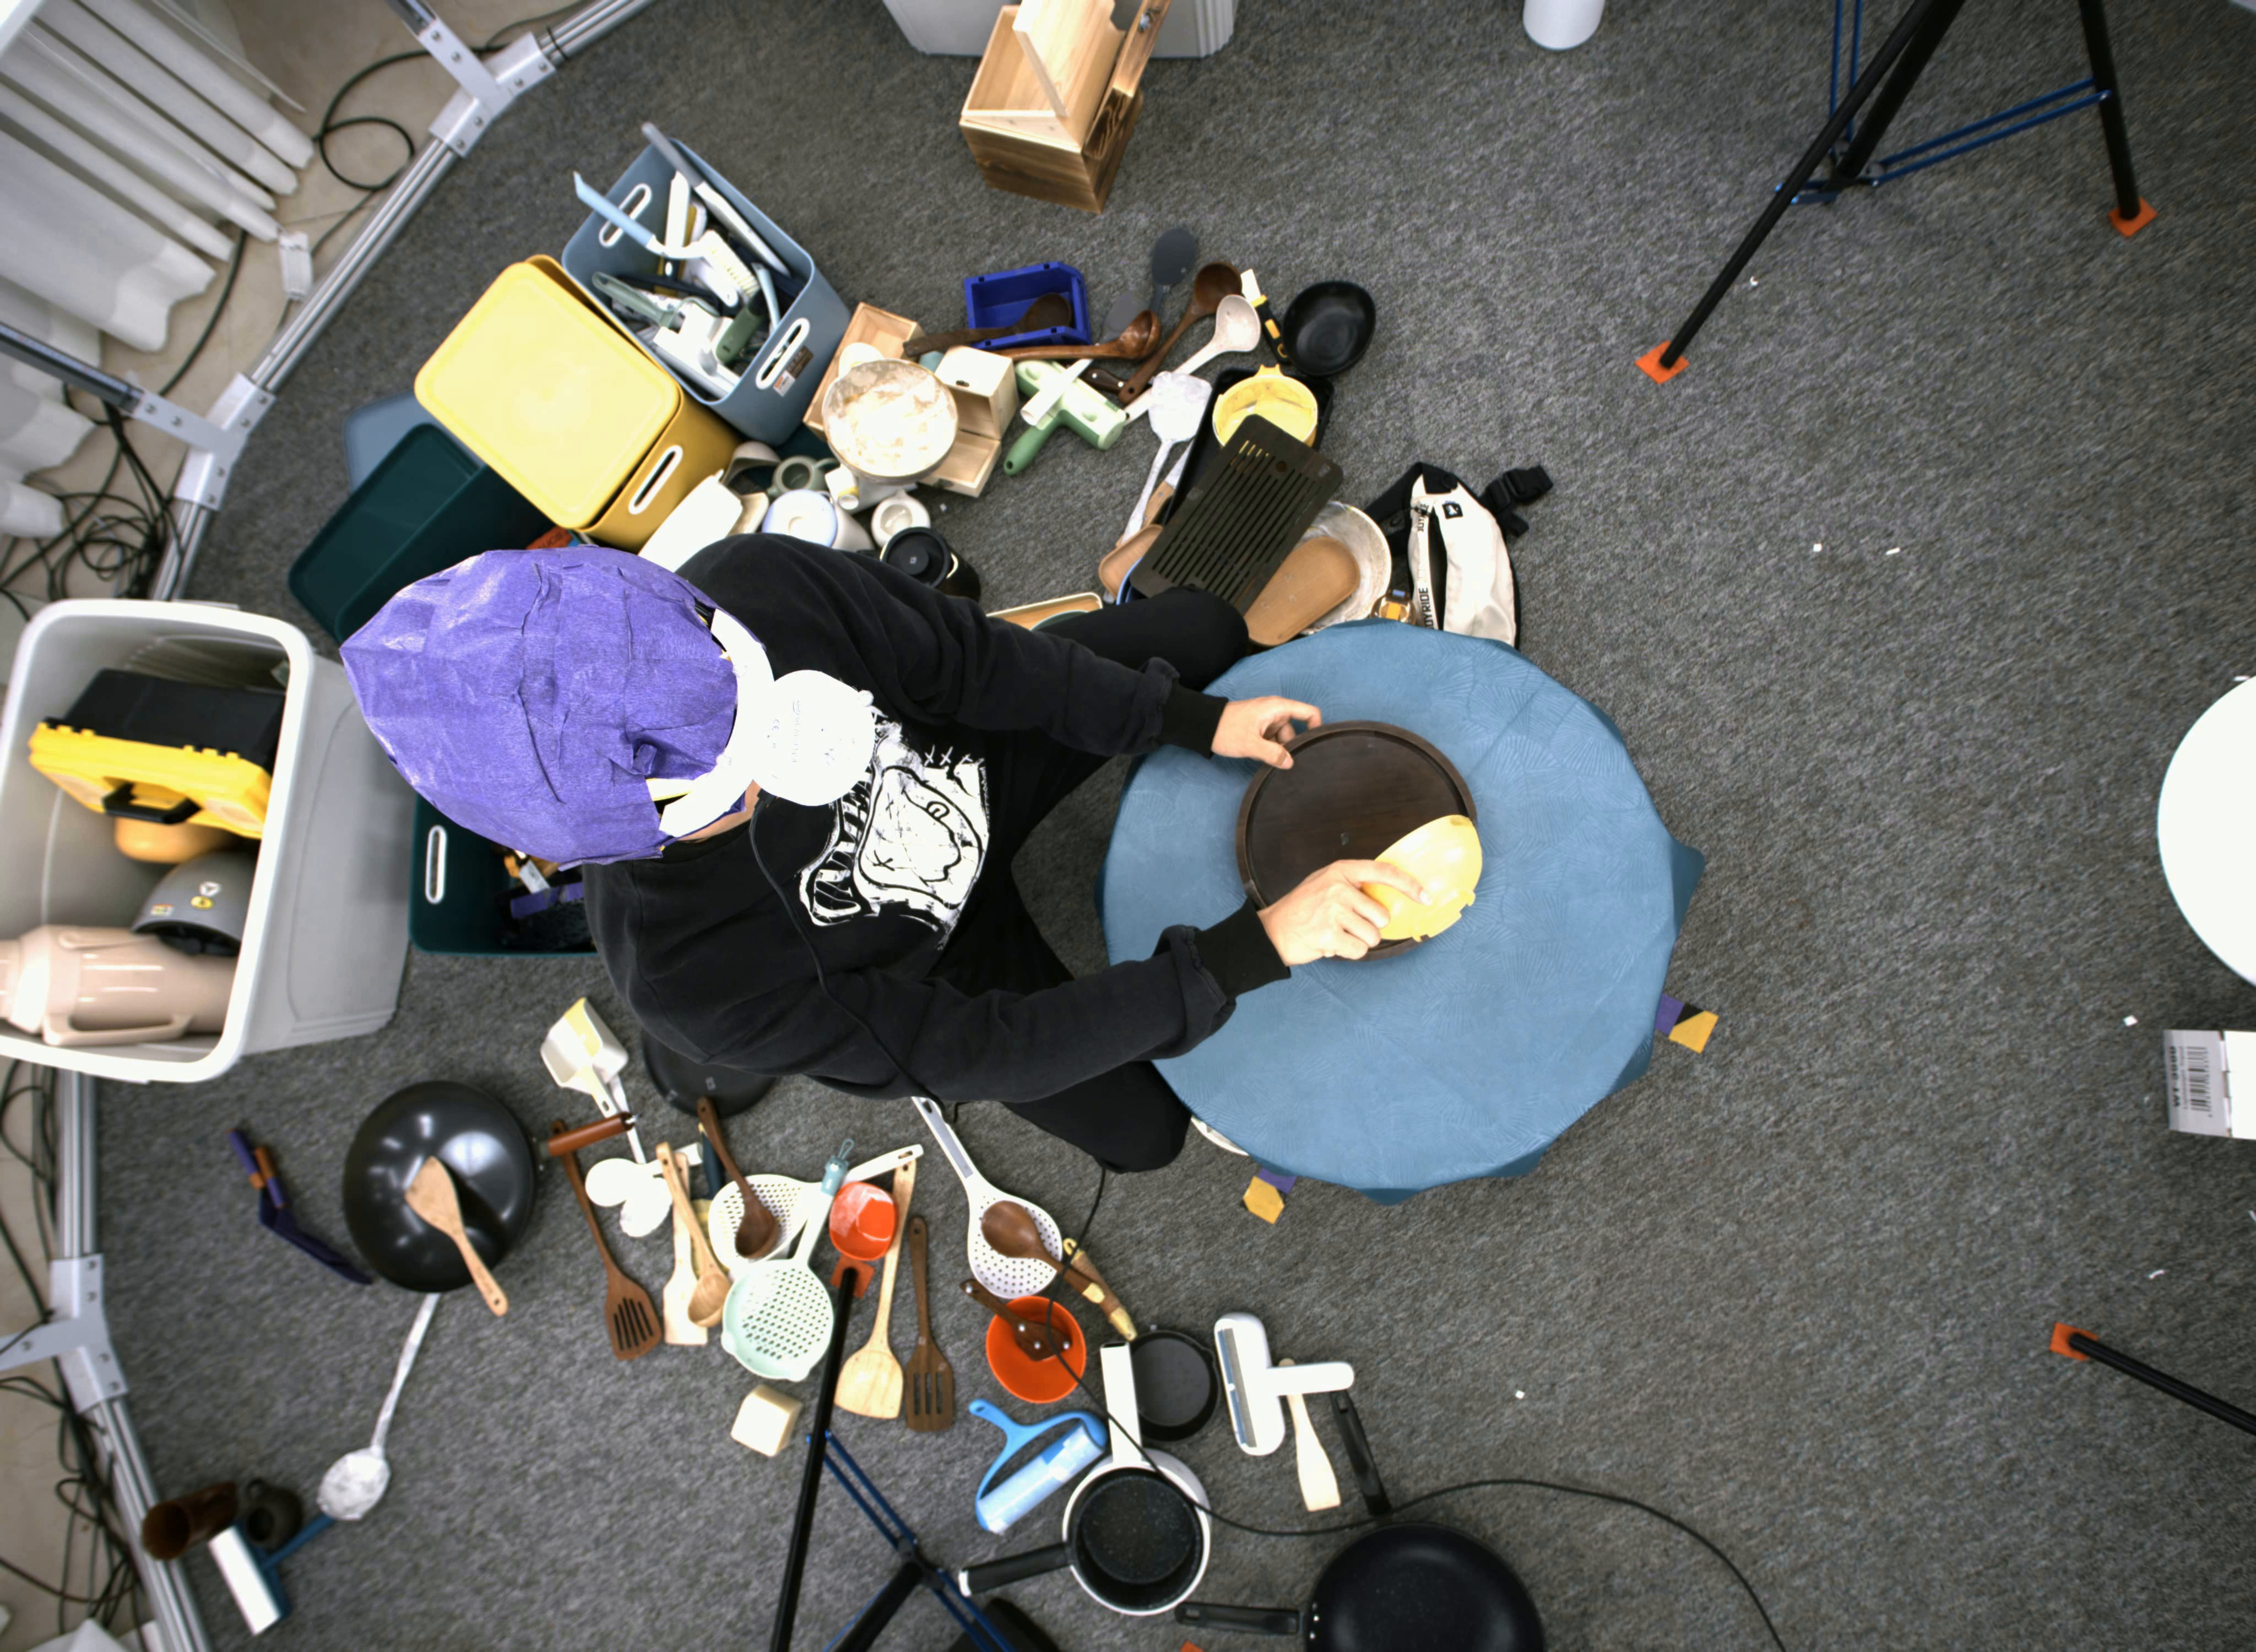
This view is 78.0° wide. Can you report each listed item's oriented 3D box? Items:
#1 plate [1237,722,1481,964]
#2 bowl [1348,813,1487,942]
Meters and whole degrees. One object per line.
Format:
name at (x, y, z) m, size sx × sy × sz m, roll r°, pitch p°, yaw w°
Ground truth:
plate at (0.240, 0.017, 1.441) m, size 0.255 × 0.029 × 0.256 m, roll 1°, pitch 99°, yaw 7°
bowl at (0.273, 0.059, 1.238) m, size 0.146 × 0.147 × 0.059 m, roll -39°, pitch 63°, yaw 4°
